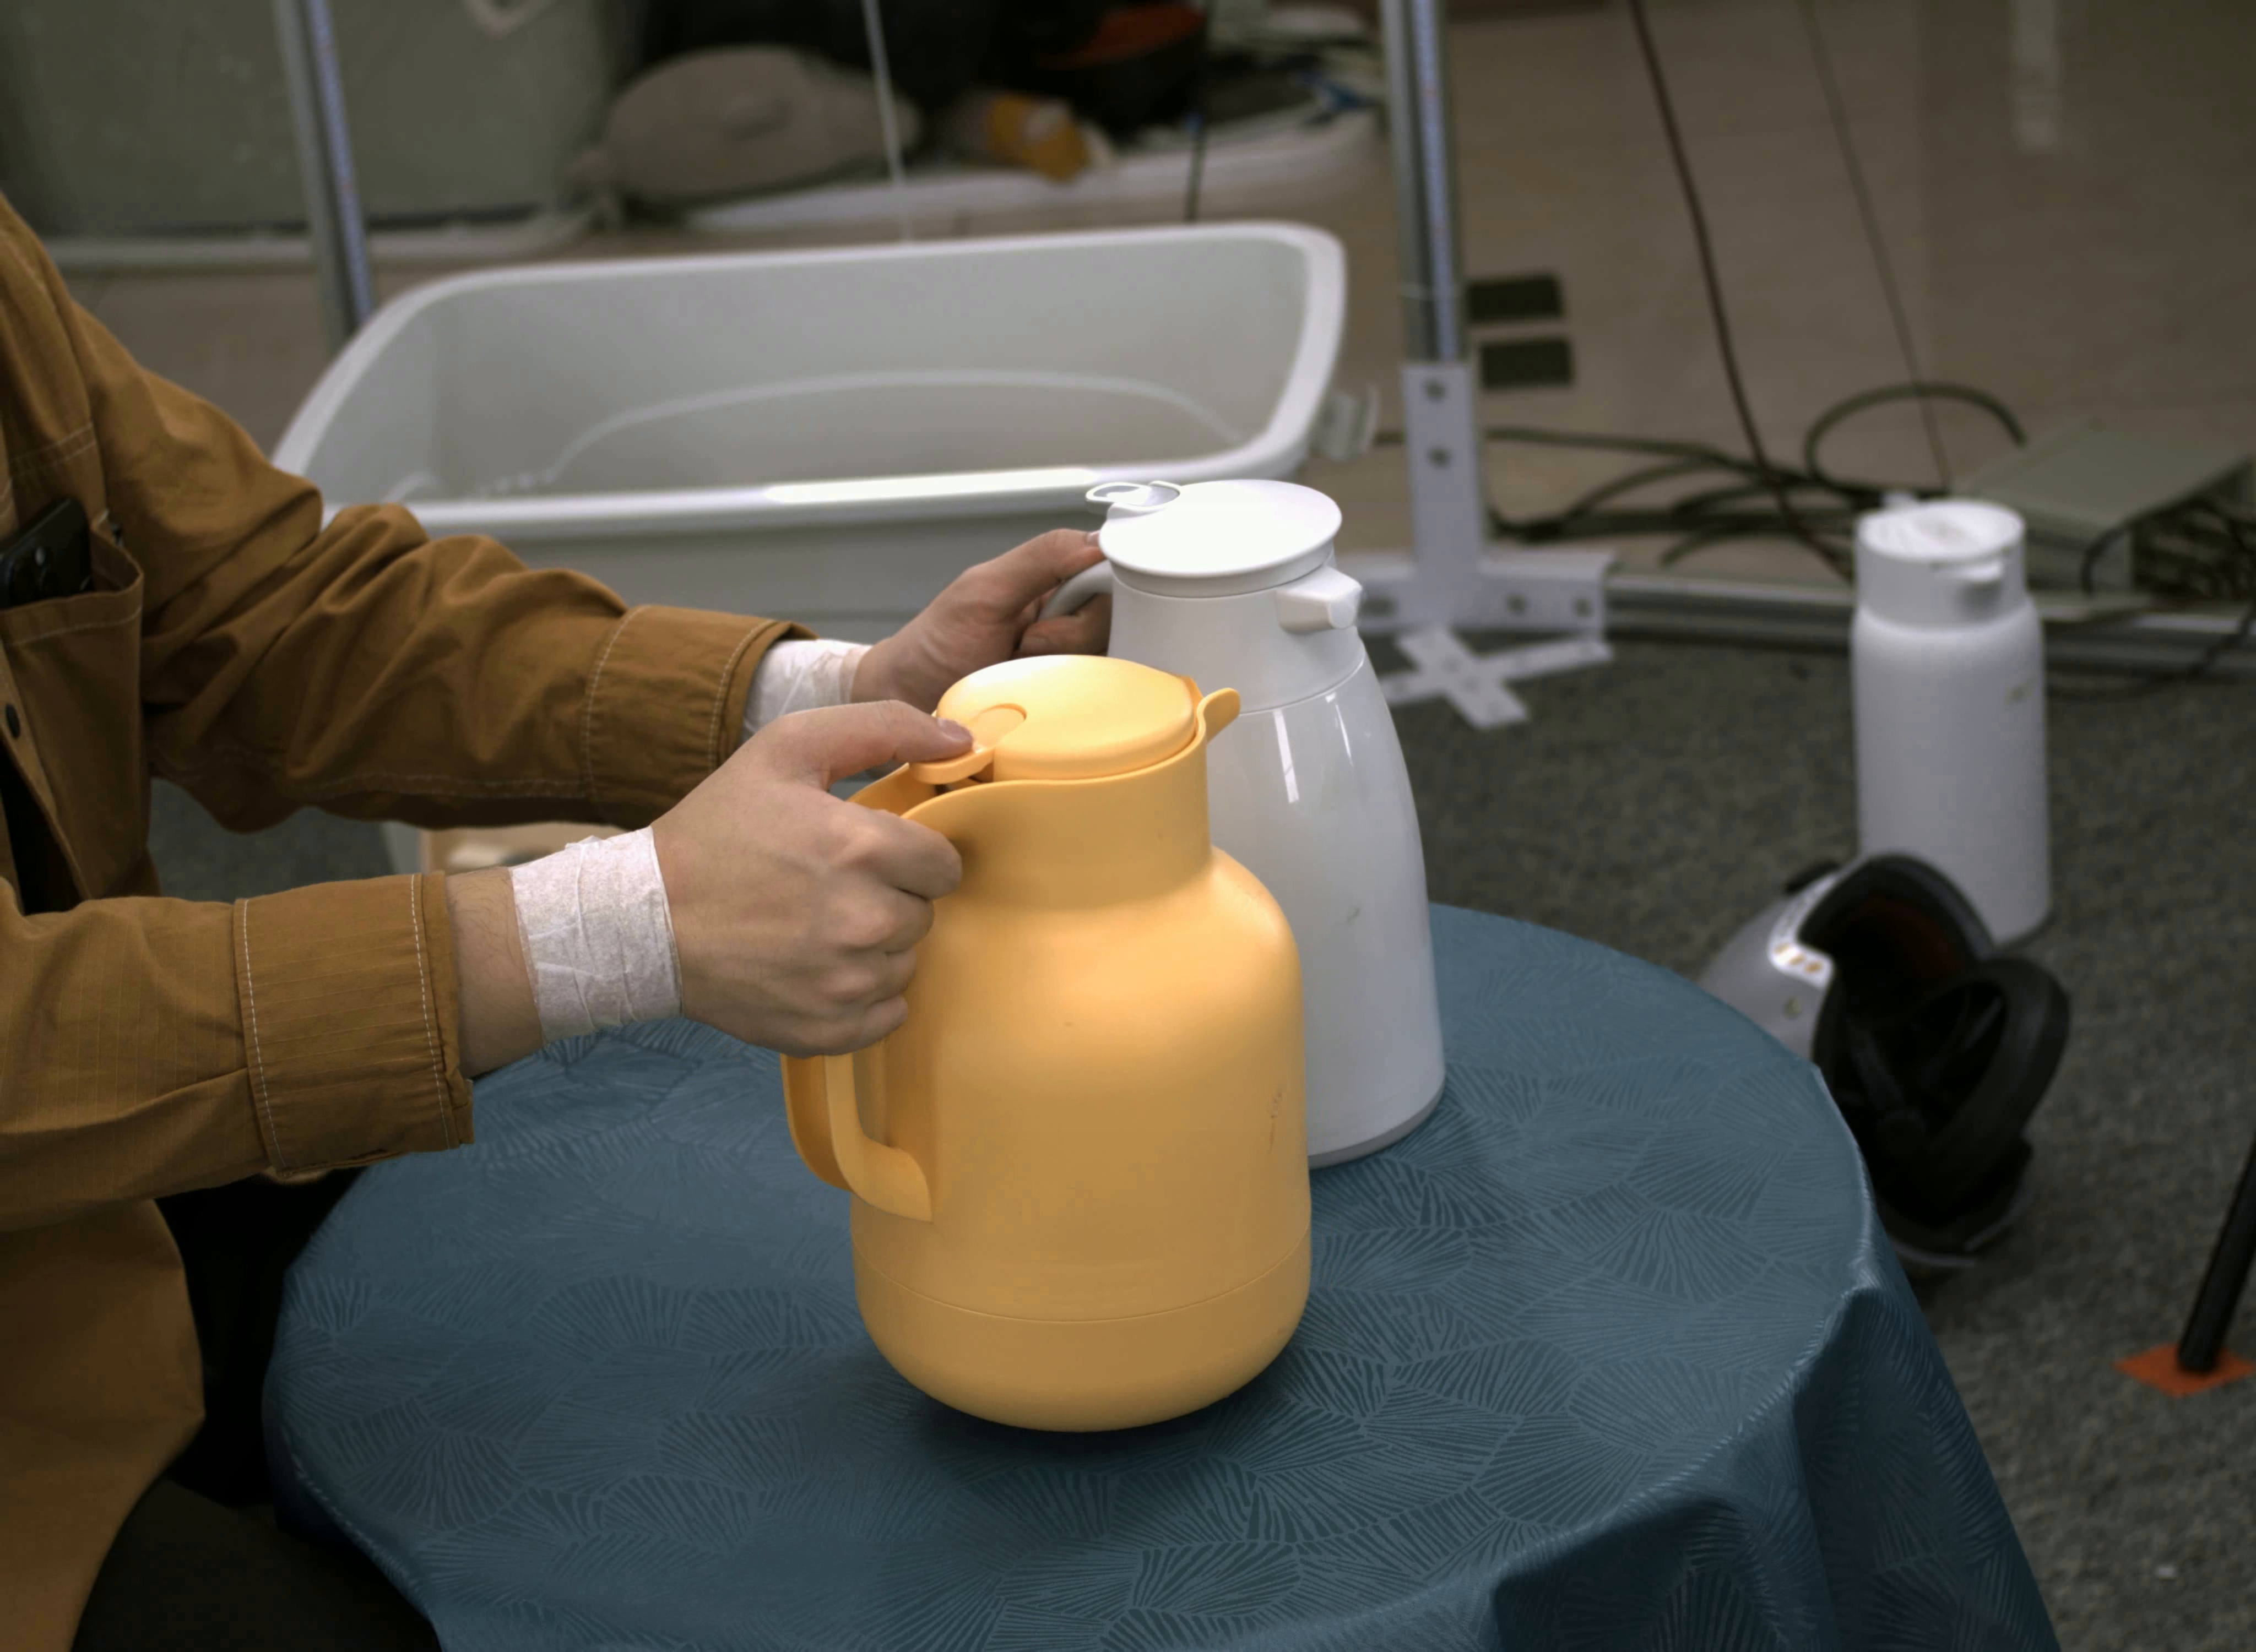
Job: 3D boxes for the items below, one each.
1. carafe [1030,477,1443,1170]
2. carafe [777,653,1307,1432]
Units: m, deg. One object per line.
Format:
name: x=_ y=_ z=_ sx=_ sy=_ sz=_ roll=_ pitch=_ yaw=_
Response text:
carafe: x=0.031 y=-0.010 z=2.164 sx=0.166 sy=0.252 sz=0.131 roll=17 pitch=34 yaw=40
carafe: x=-0.035 y=0.076 z=1.969 sx=0.201 sy=0.264 sz=0.162 roll=-19 pitch=28 yaw=-35
